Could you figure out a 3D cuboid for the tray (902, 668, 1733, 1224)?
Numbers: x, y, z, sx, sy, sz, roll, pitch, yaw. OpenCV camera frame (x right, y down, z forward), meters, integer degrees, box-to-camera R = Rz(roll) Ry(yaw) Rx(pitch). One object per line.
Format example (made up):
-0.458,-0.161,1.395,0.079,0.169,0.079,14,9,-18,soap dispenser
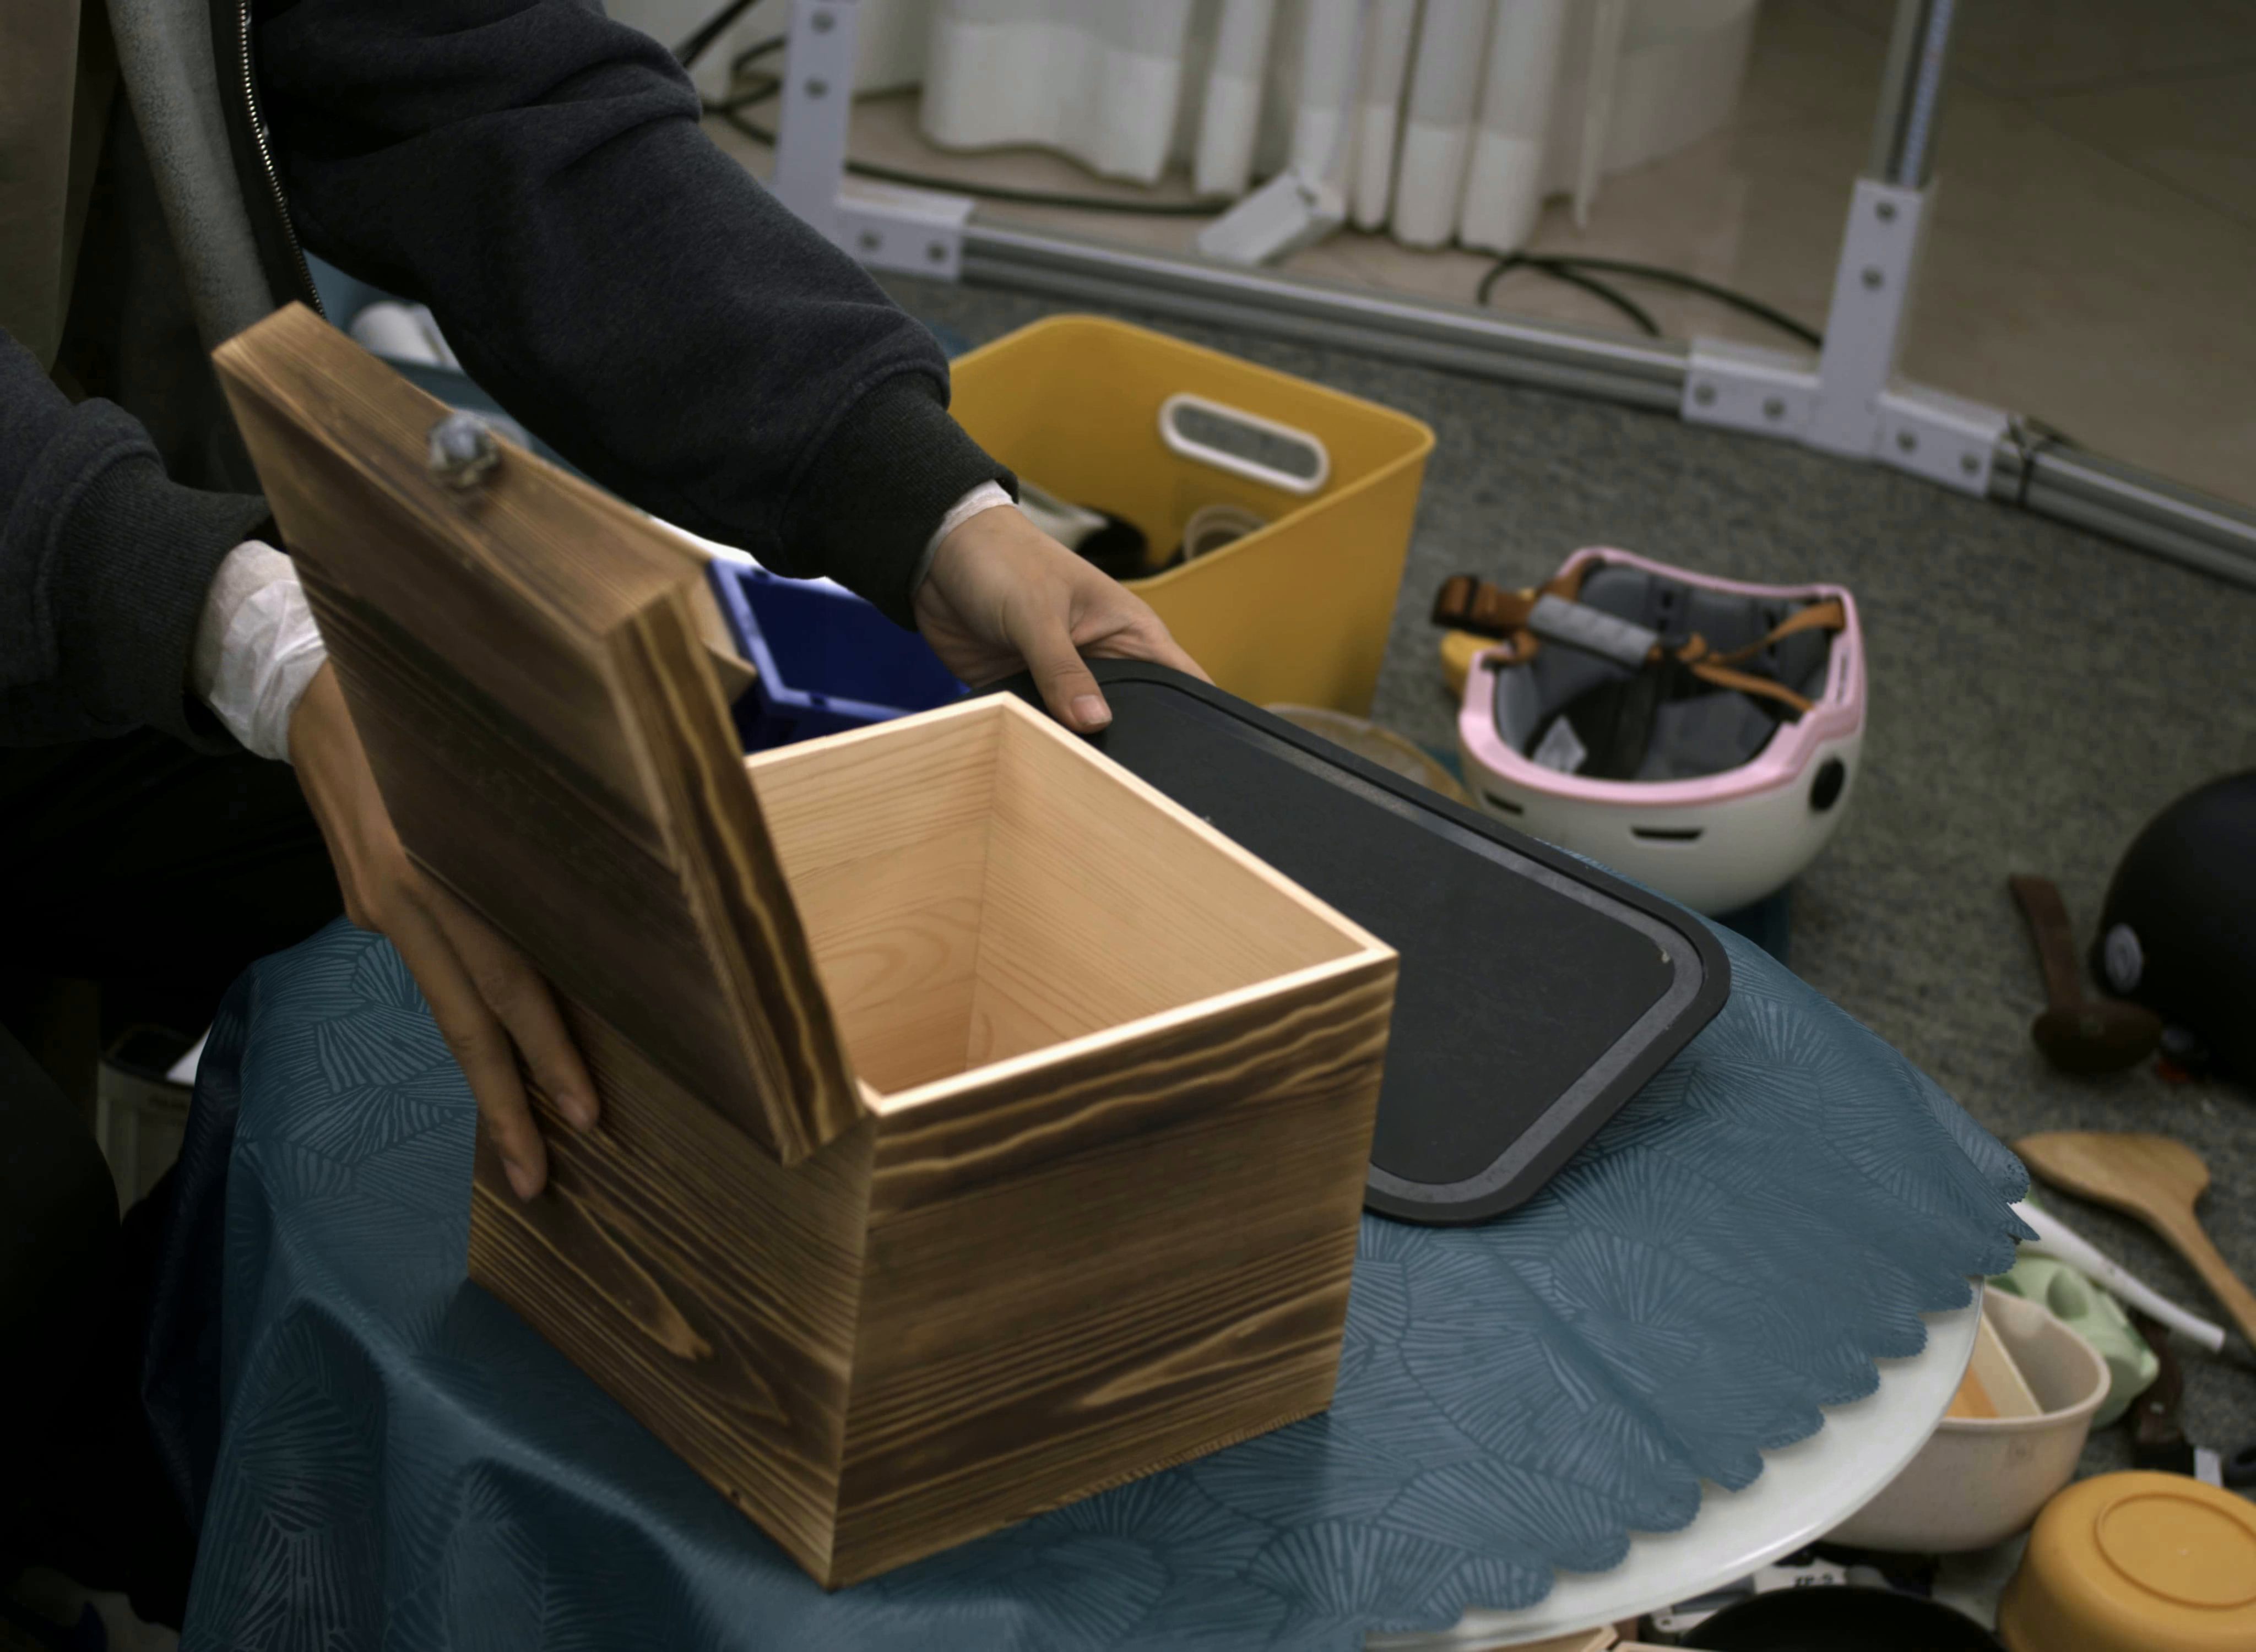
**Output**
0.043,0.034,1.923,0.327,0.010,0.211,25,43,26,tray

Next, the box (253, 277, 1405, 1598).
-0.093,0.019,1.590,0.320,0.374,0.210,-15,35,-36,box
